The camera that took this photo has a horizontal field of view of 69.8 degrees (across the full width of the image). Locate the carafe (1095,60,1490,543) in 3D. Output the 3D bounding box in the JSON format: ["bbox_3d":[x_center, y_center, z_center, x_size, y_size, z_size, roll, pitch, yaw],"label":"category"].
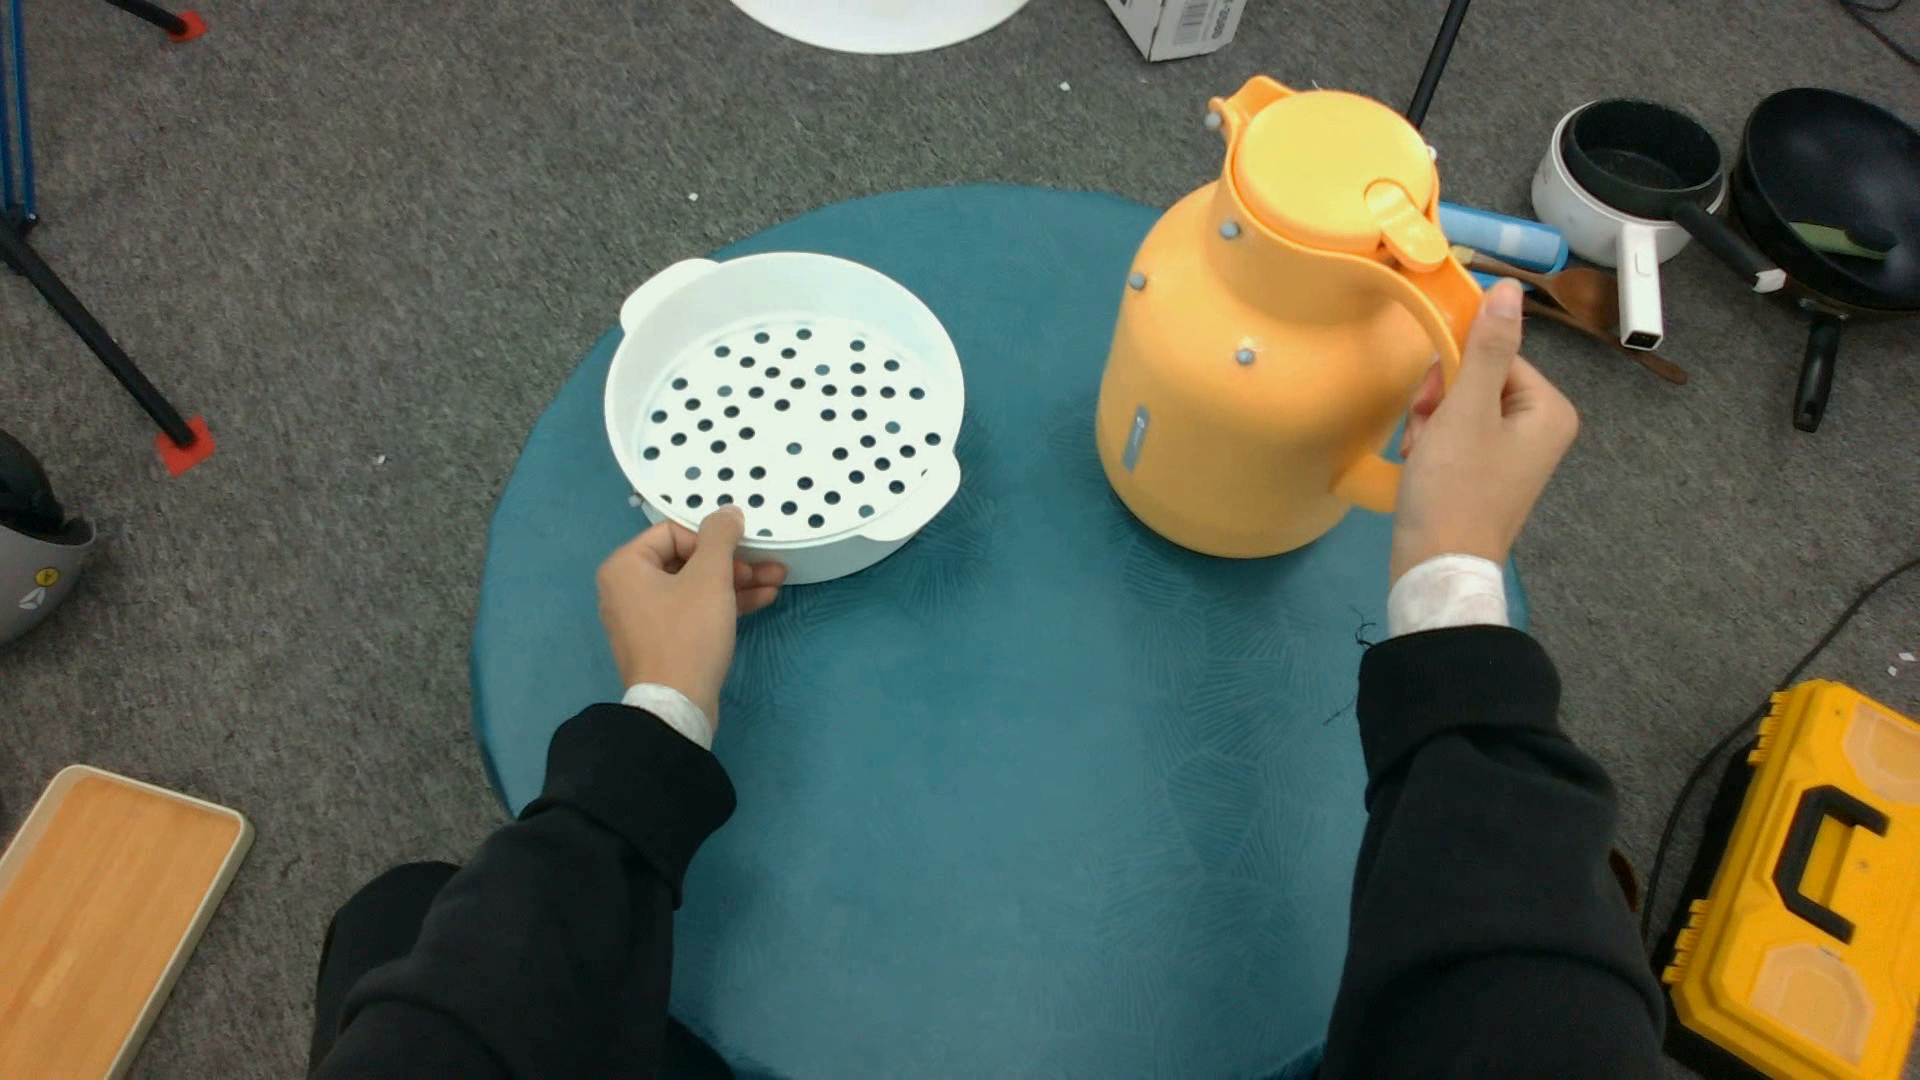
[{"bbox_3d":[0.170,-0.104,0.717,0.164,0.259,0.203,-29,65,-15],"label":"carafe"}]

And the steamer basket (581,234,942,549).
[{"bbox_3d":[-0.109,-0.086,0.790,0.230,0.069,0.203,35,61,26],"label":"steamer basket"}]
